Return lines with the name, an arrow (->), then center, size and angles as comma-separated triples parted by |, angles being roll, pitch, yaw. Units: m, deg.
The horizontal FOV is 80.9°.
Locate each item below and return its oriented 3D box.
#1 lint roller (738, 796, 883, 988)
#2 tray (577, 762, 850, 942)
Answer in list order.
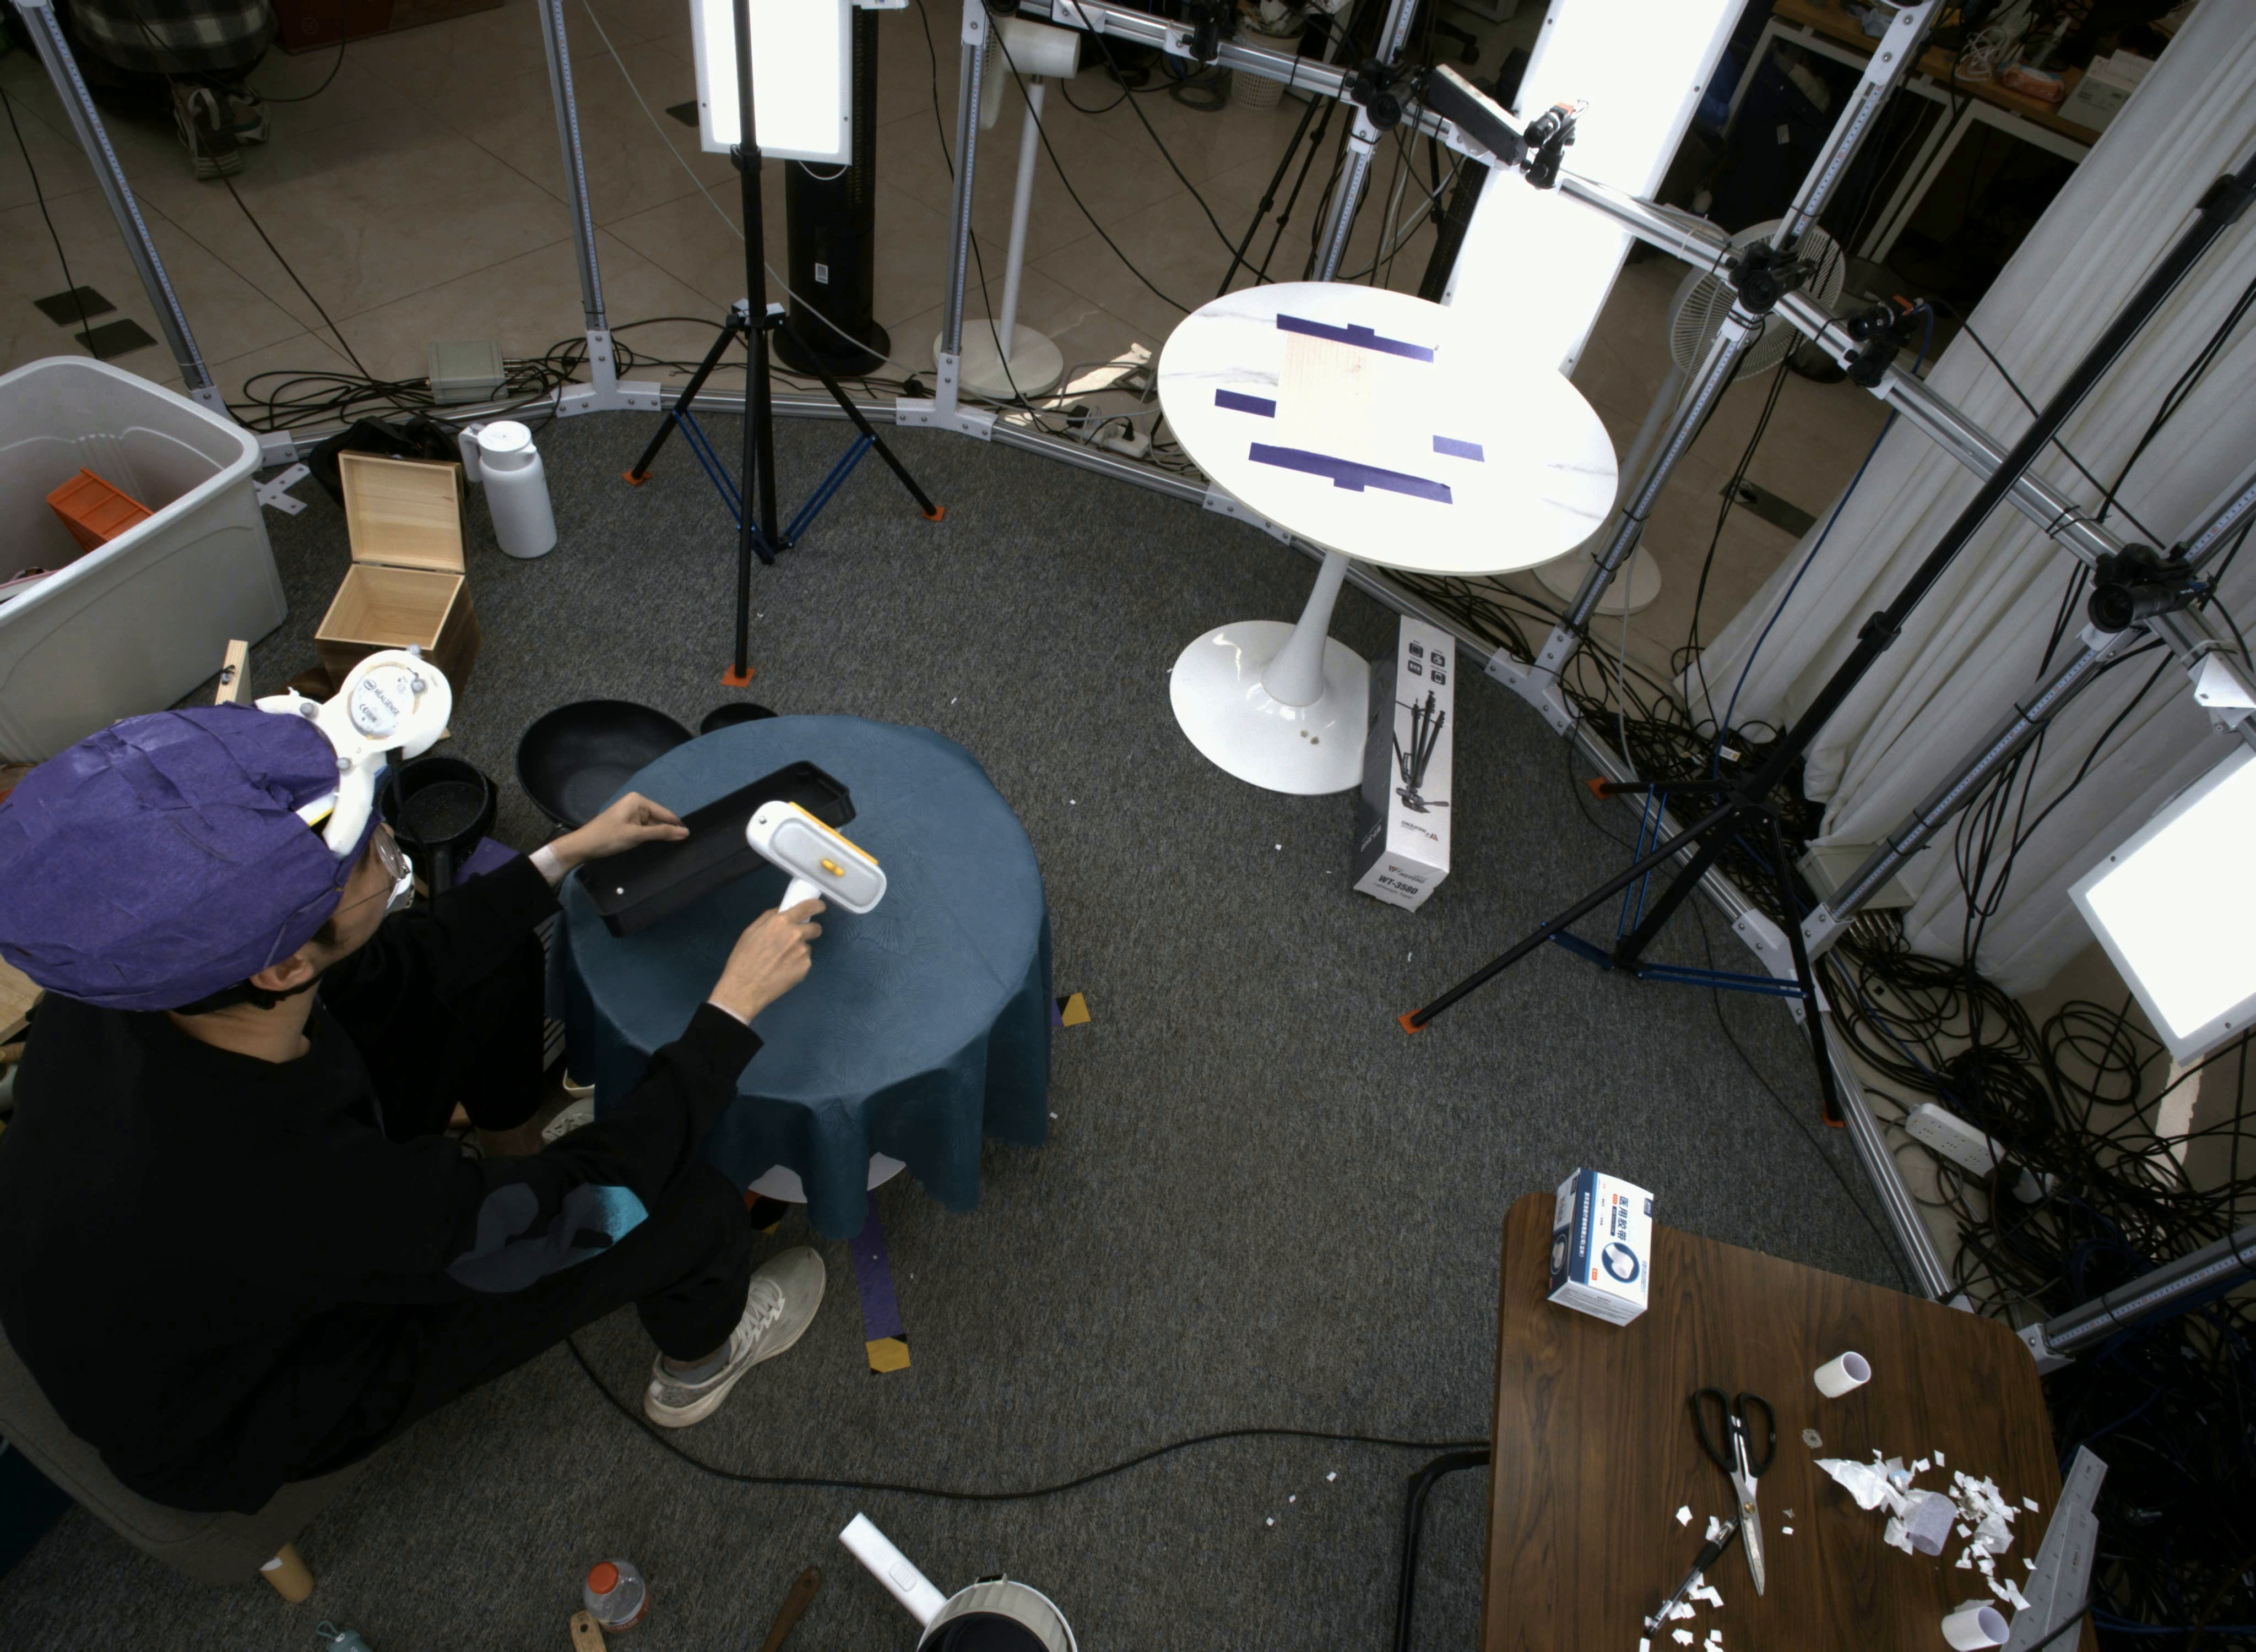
lint roller -> -0.380, 0.086, 1.481 | 0.071, 0.200, 0.193 | 15, 75, 37
tray -> -0.499, 0.022, 1.542 | 0.318, 0.038, 0.177 | -30, 30, -24
